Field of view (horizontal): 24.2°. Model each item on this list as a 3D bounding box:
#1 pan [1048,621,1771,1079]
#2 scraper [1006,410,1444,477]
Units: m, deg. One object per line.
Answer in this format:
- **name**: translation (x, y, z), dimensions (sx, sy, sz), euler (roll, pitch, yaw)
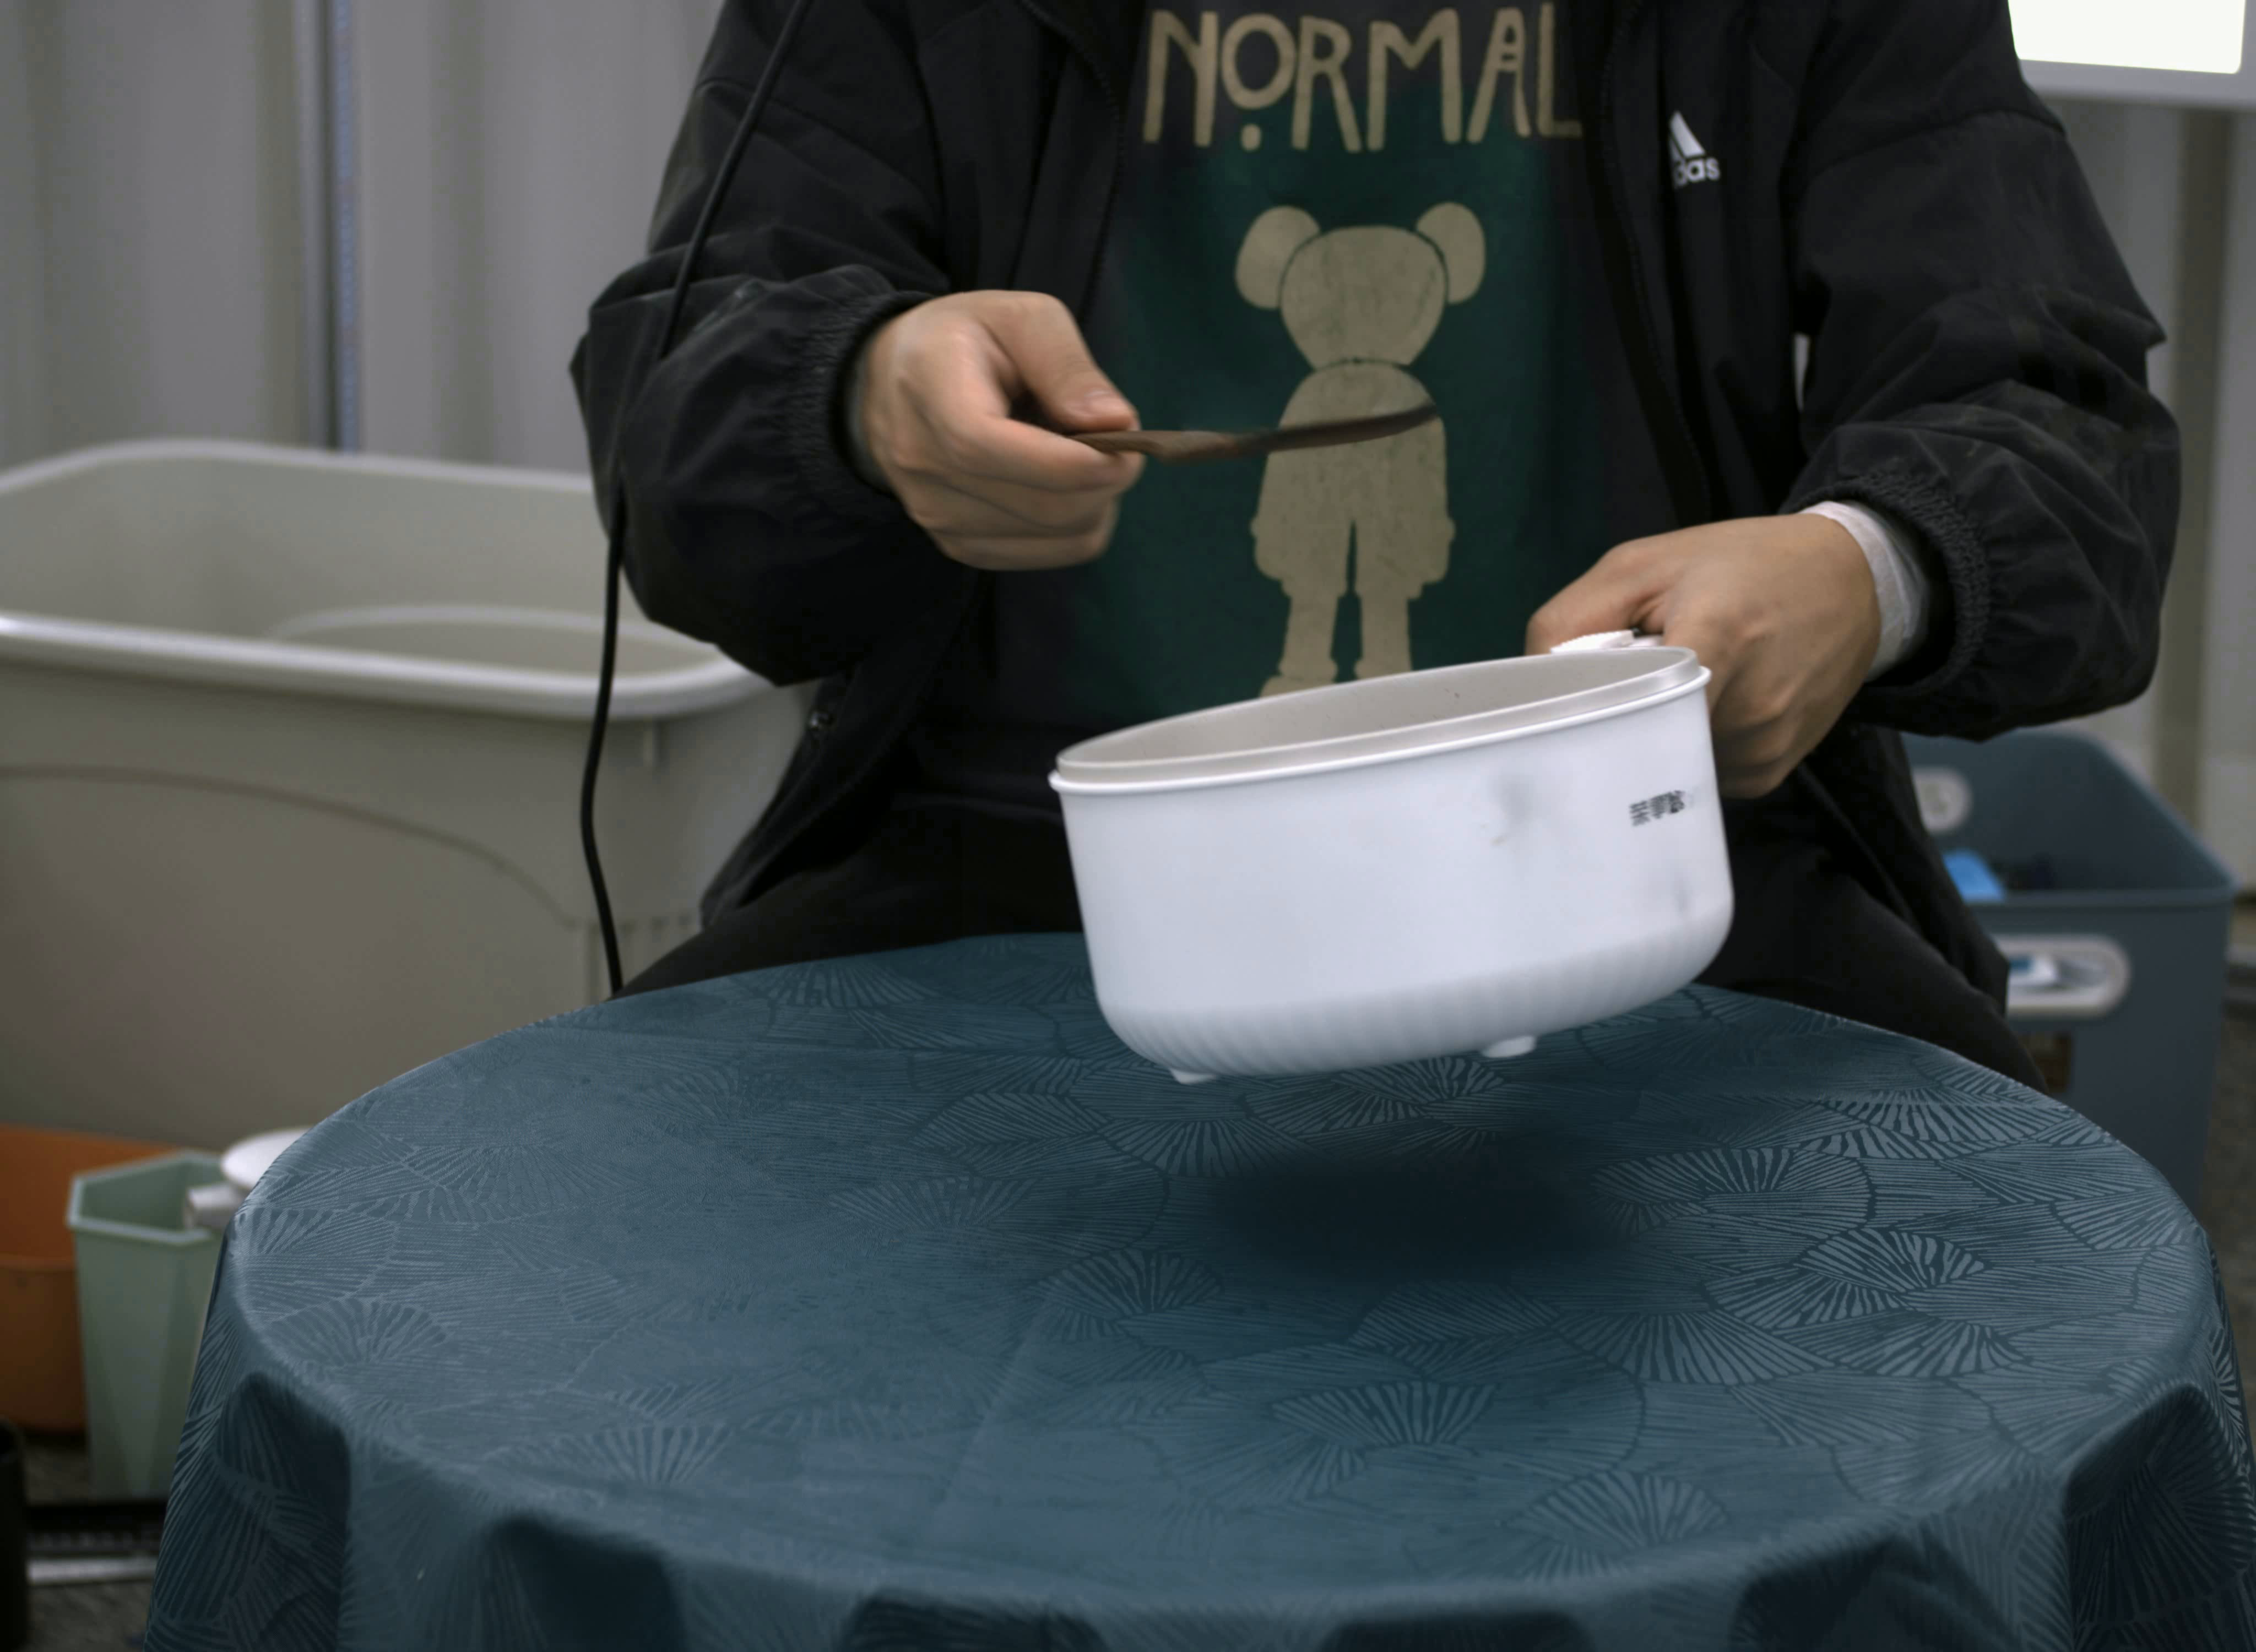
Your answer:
- **pan**: translation (0.118, 0.002, 1.650), dimensions (0.199, 0.102, 0.356), euler (-7, 4, 30)
- **scraper**: translation (0.018, -0.118, 1.634), dimensions (0.076, 0.011, 0.209), euler (-13, 10, -27)
